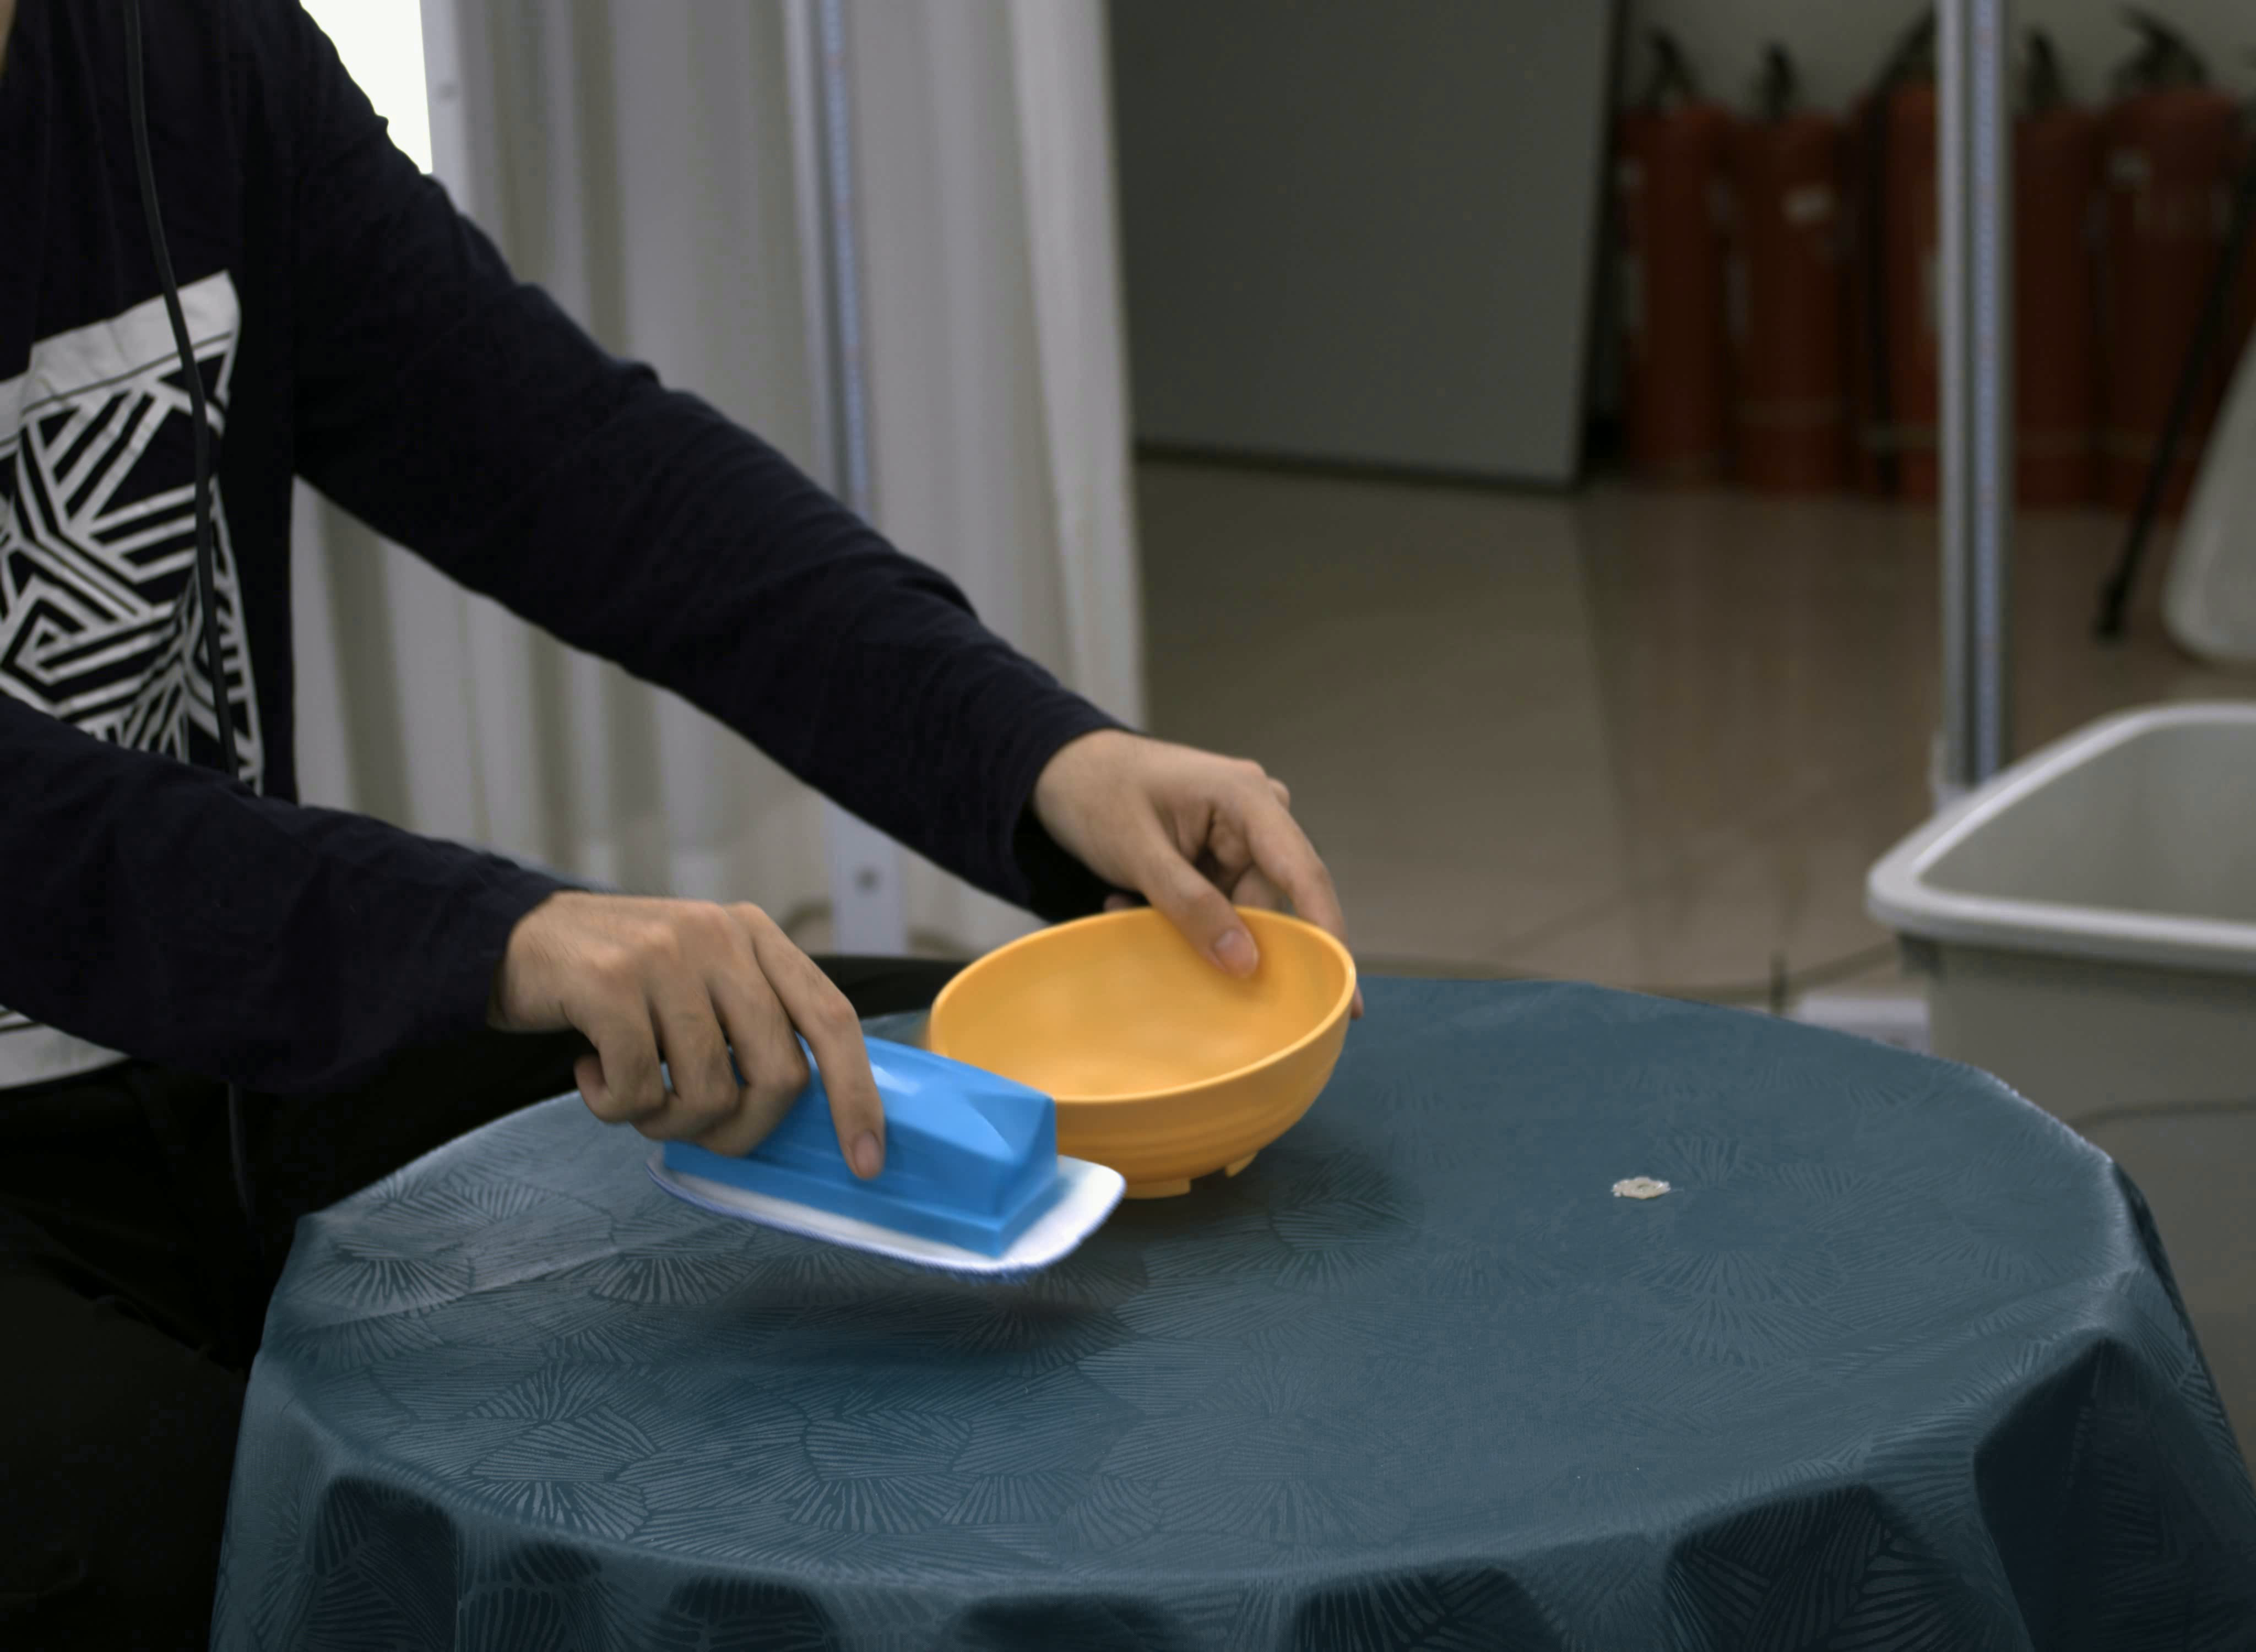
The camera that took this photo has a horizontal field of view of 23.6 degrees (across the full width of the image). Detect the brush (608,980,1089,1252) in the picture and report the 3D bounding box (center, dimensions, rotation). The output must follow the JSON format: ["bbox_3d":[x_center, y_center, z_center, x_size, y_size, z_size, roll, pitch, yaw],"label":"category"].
[{"bbox_3d":[-0.084,0.086,1.659,0.144,0.056,0.082,16,24,26],"label":"brush"}]

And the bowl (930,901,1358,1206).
[{"bbox_3d":[0.008,0.083,1.783,0.143,0.060,0.146,-7,24,2],"label":"bowl"}]
